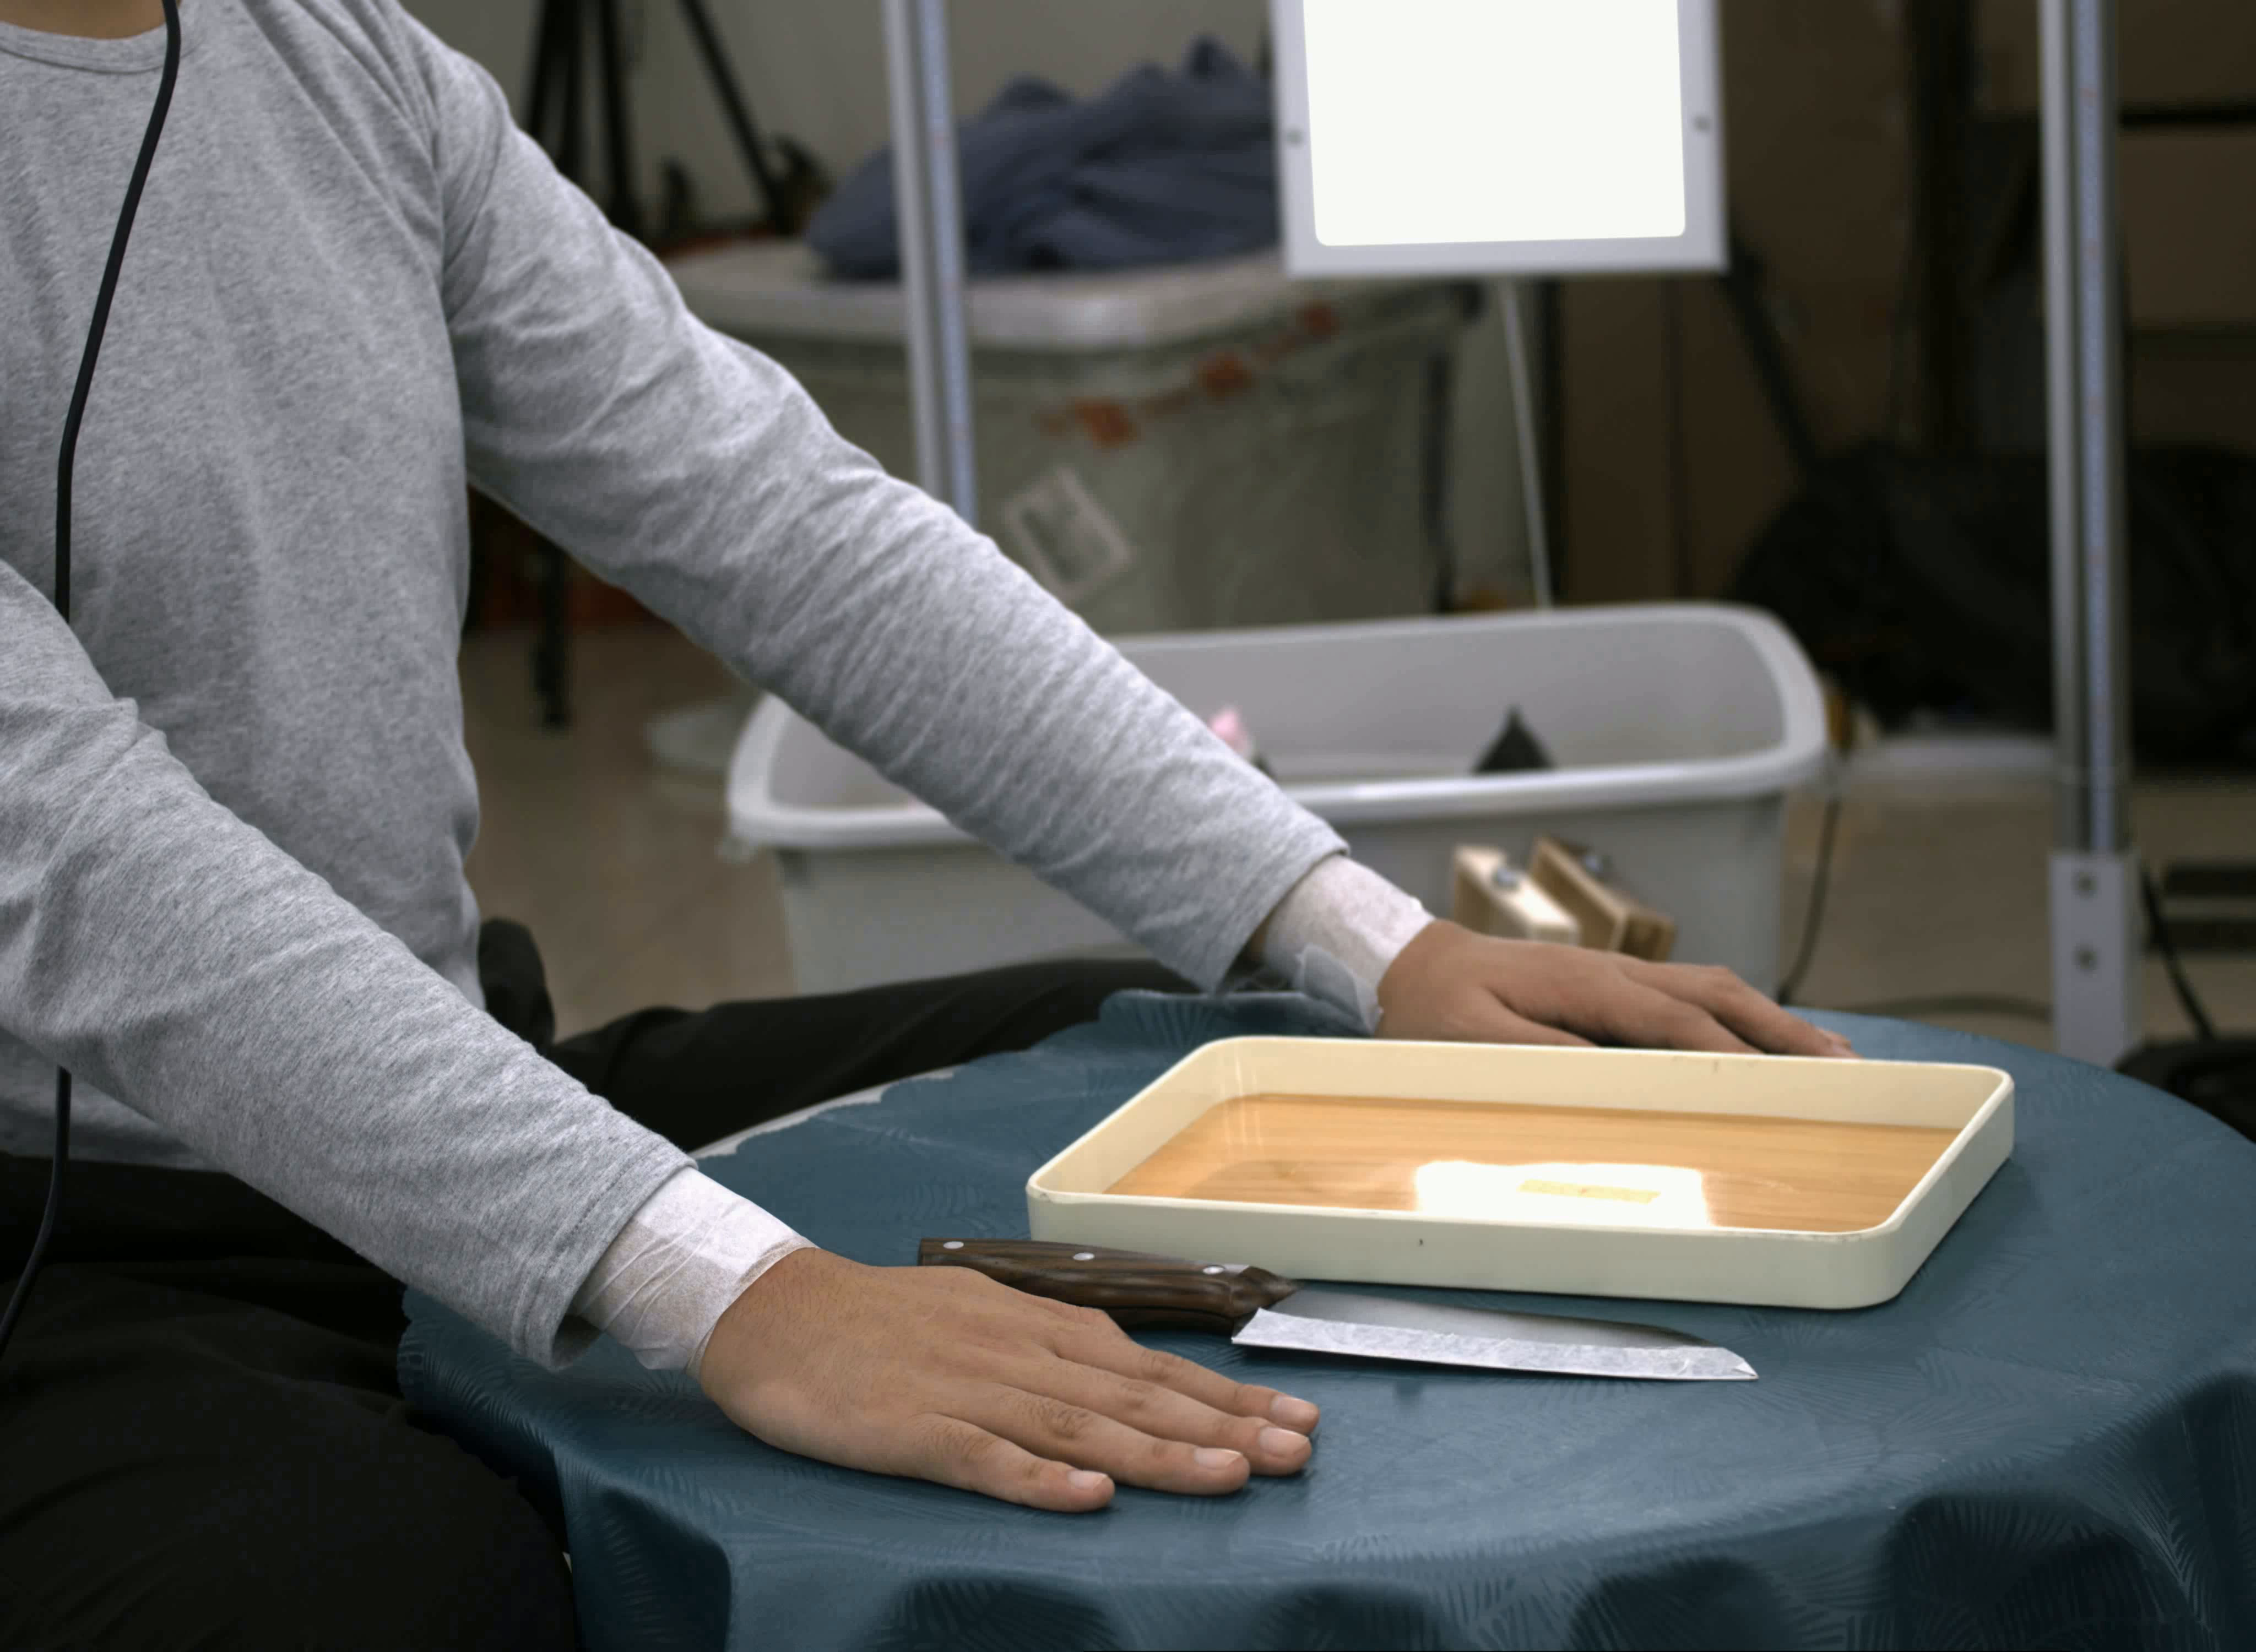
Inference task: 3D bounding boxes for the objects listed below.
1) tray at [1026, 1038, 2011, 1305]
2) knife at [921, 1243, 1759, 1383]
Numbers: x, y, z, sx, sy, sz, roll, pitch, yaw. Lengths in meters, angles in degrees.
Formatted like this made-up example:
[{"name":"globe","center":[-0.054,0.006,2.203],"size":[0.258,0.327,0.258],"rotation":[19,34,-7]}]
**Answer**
[{"name":"tray","center":[0.135,0.114,1.850],"size":[0.305,0.027,0.188],"rotation":[1,15,25]},{"name":"knife","center":[0.062,0.155,1.732],"size":[0.294,0.020,0.049],"rotation":[4,21,26]}]
